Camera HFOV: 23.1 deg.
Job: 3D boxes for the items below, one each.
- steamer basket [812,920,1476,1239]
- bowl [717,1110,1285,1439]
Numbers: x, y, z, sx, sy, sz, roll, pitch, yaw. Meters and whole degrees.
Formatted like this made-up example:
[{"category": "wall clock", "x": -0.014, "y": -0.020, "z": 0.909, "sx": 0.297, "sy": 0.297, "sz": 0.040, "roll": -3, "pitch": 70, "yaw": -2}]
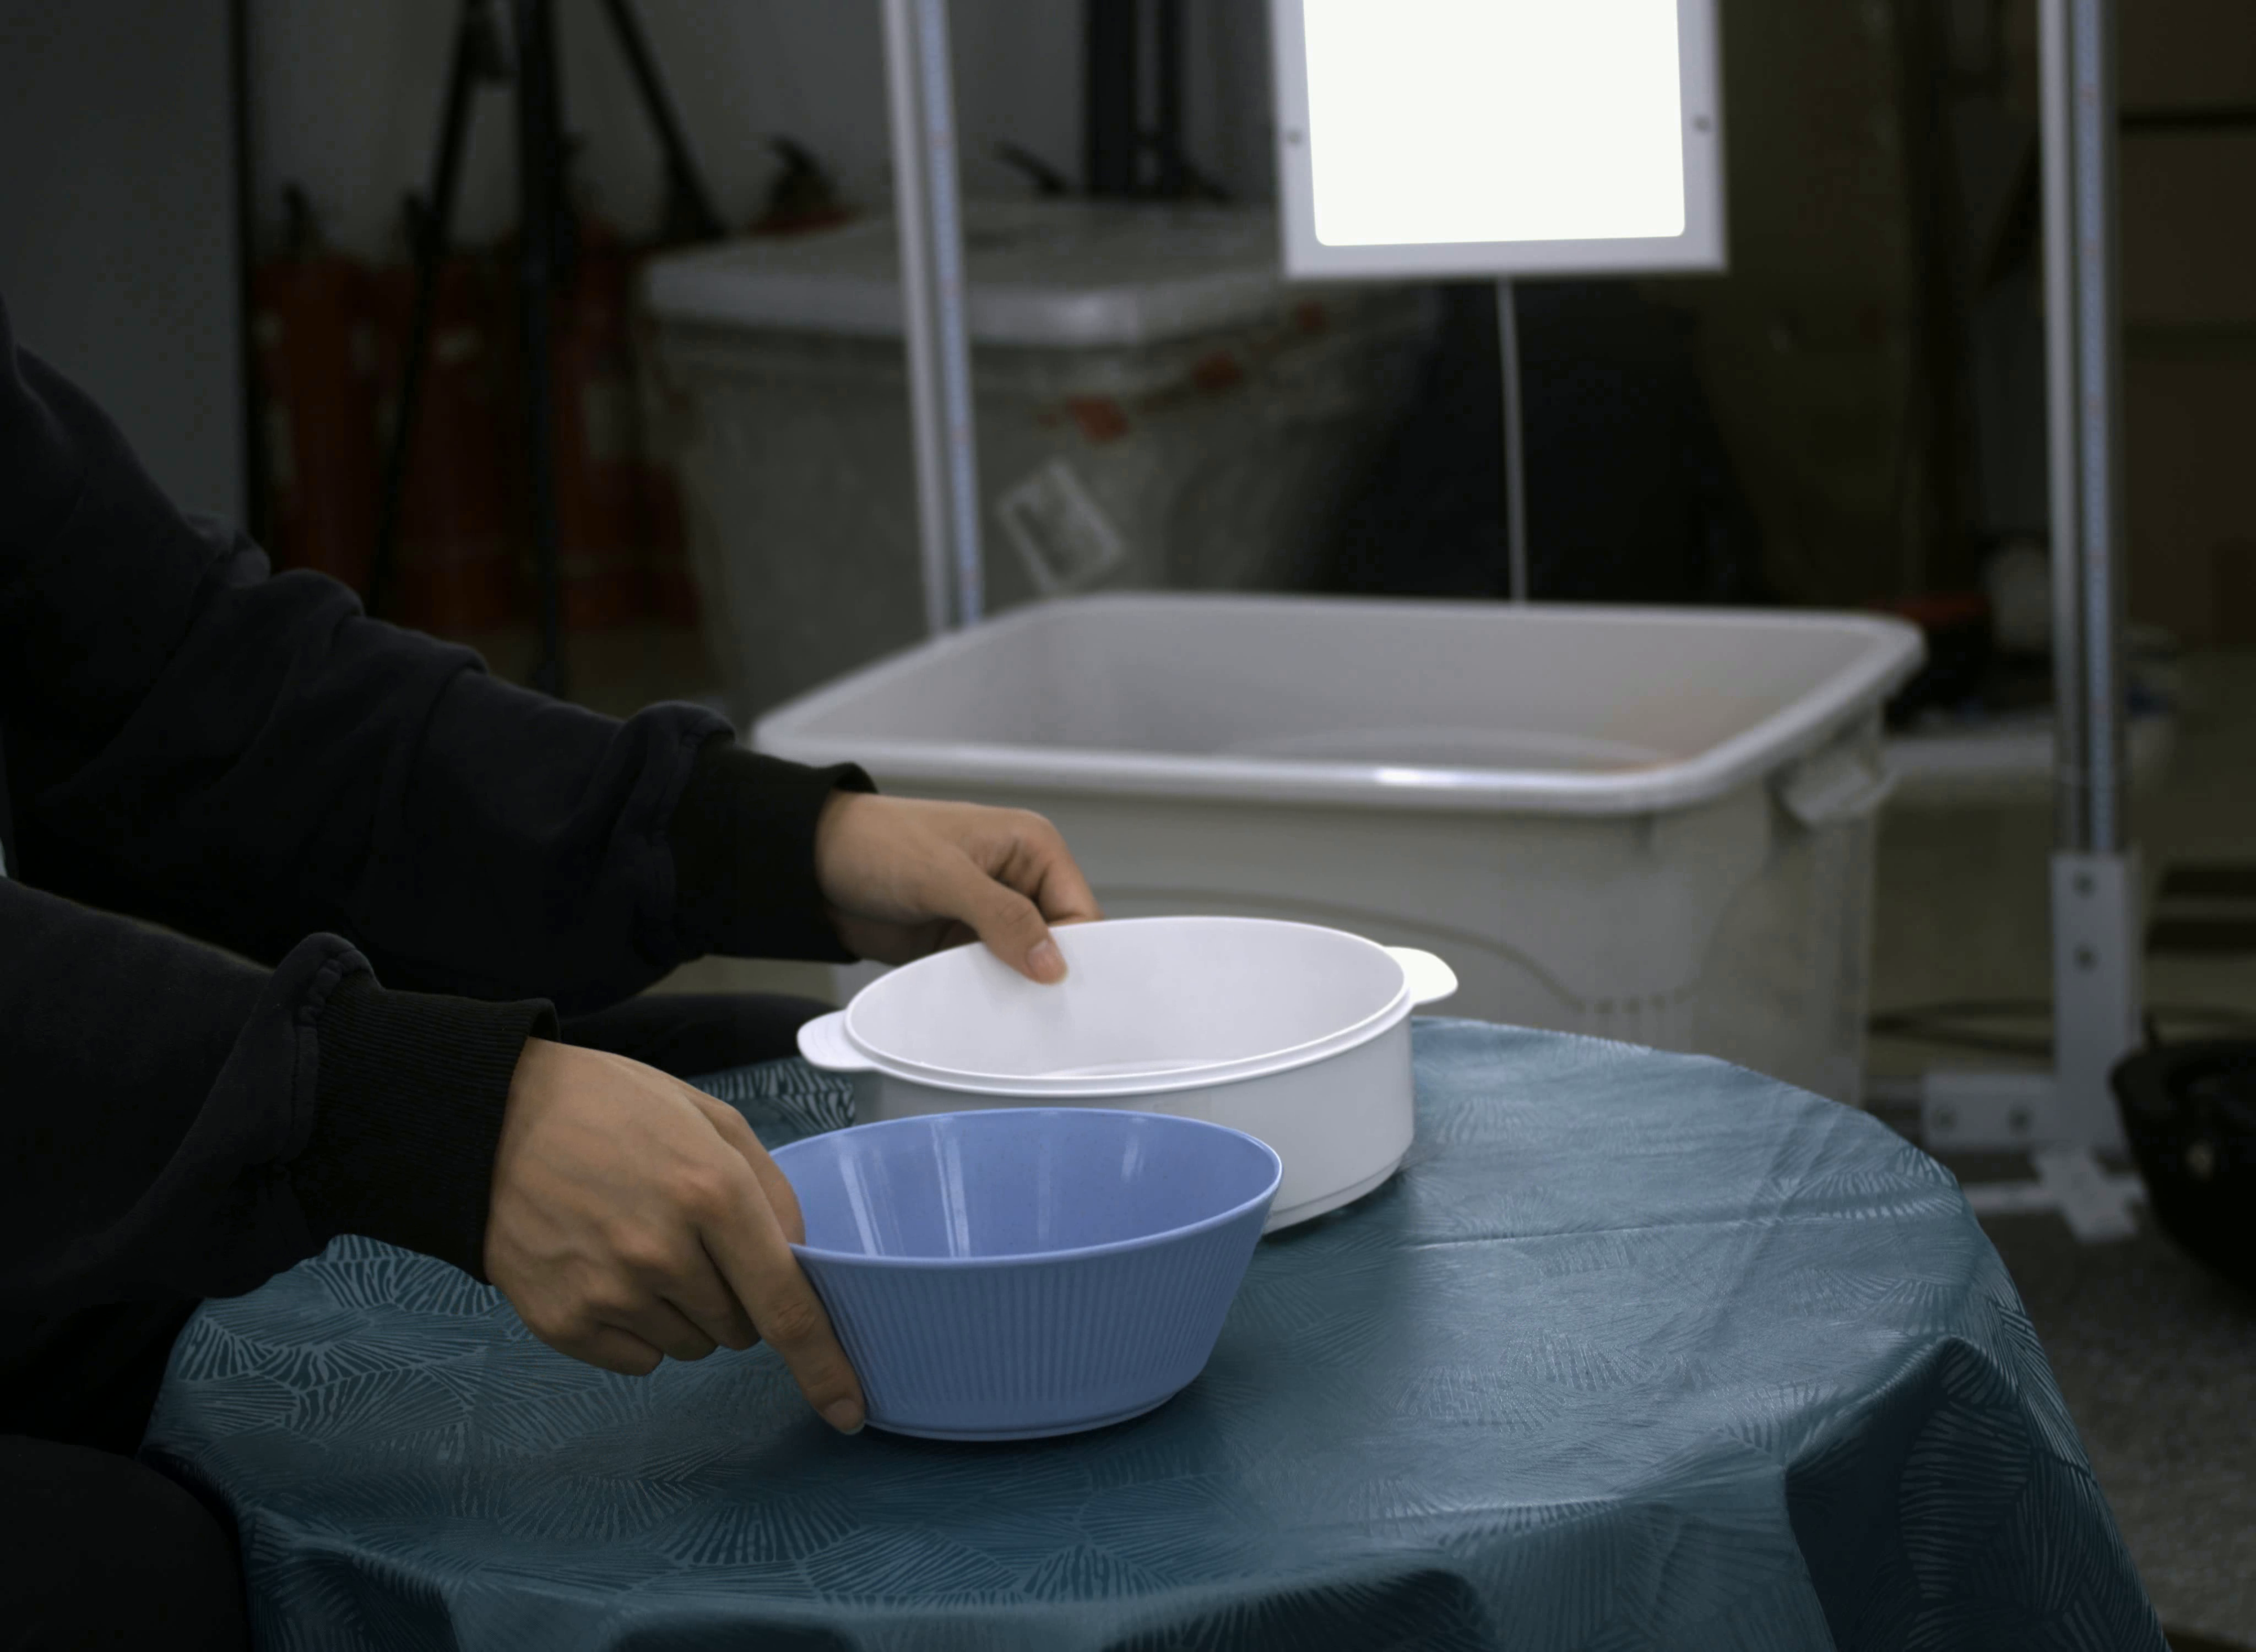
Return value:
[{"category": "steamer basket", "x": 0.007, "y": 0.089, "z": 1.905, "sx": 0.228, "sy": 0.069, "sz": 0.203, "roll": -5, "pitch": 14, "yaw": -8}, {"category": "bowl", "x": -0.037, "y": 0.140, "z": 1.697, "sx": 0.175, "sy": 0.070, "sz": 0.176, "roll": -4, "pitch": 11, "yaw": -1}]
